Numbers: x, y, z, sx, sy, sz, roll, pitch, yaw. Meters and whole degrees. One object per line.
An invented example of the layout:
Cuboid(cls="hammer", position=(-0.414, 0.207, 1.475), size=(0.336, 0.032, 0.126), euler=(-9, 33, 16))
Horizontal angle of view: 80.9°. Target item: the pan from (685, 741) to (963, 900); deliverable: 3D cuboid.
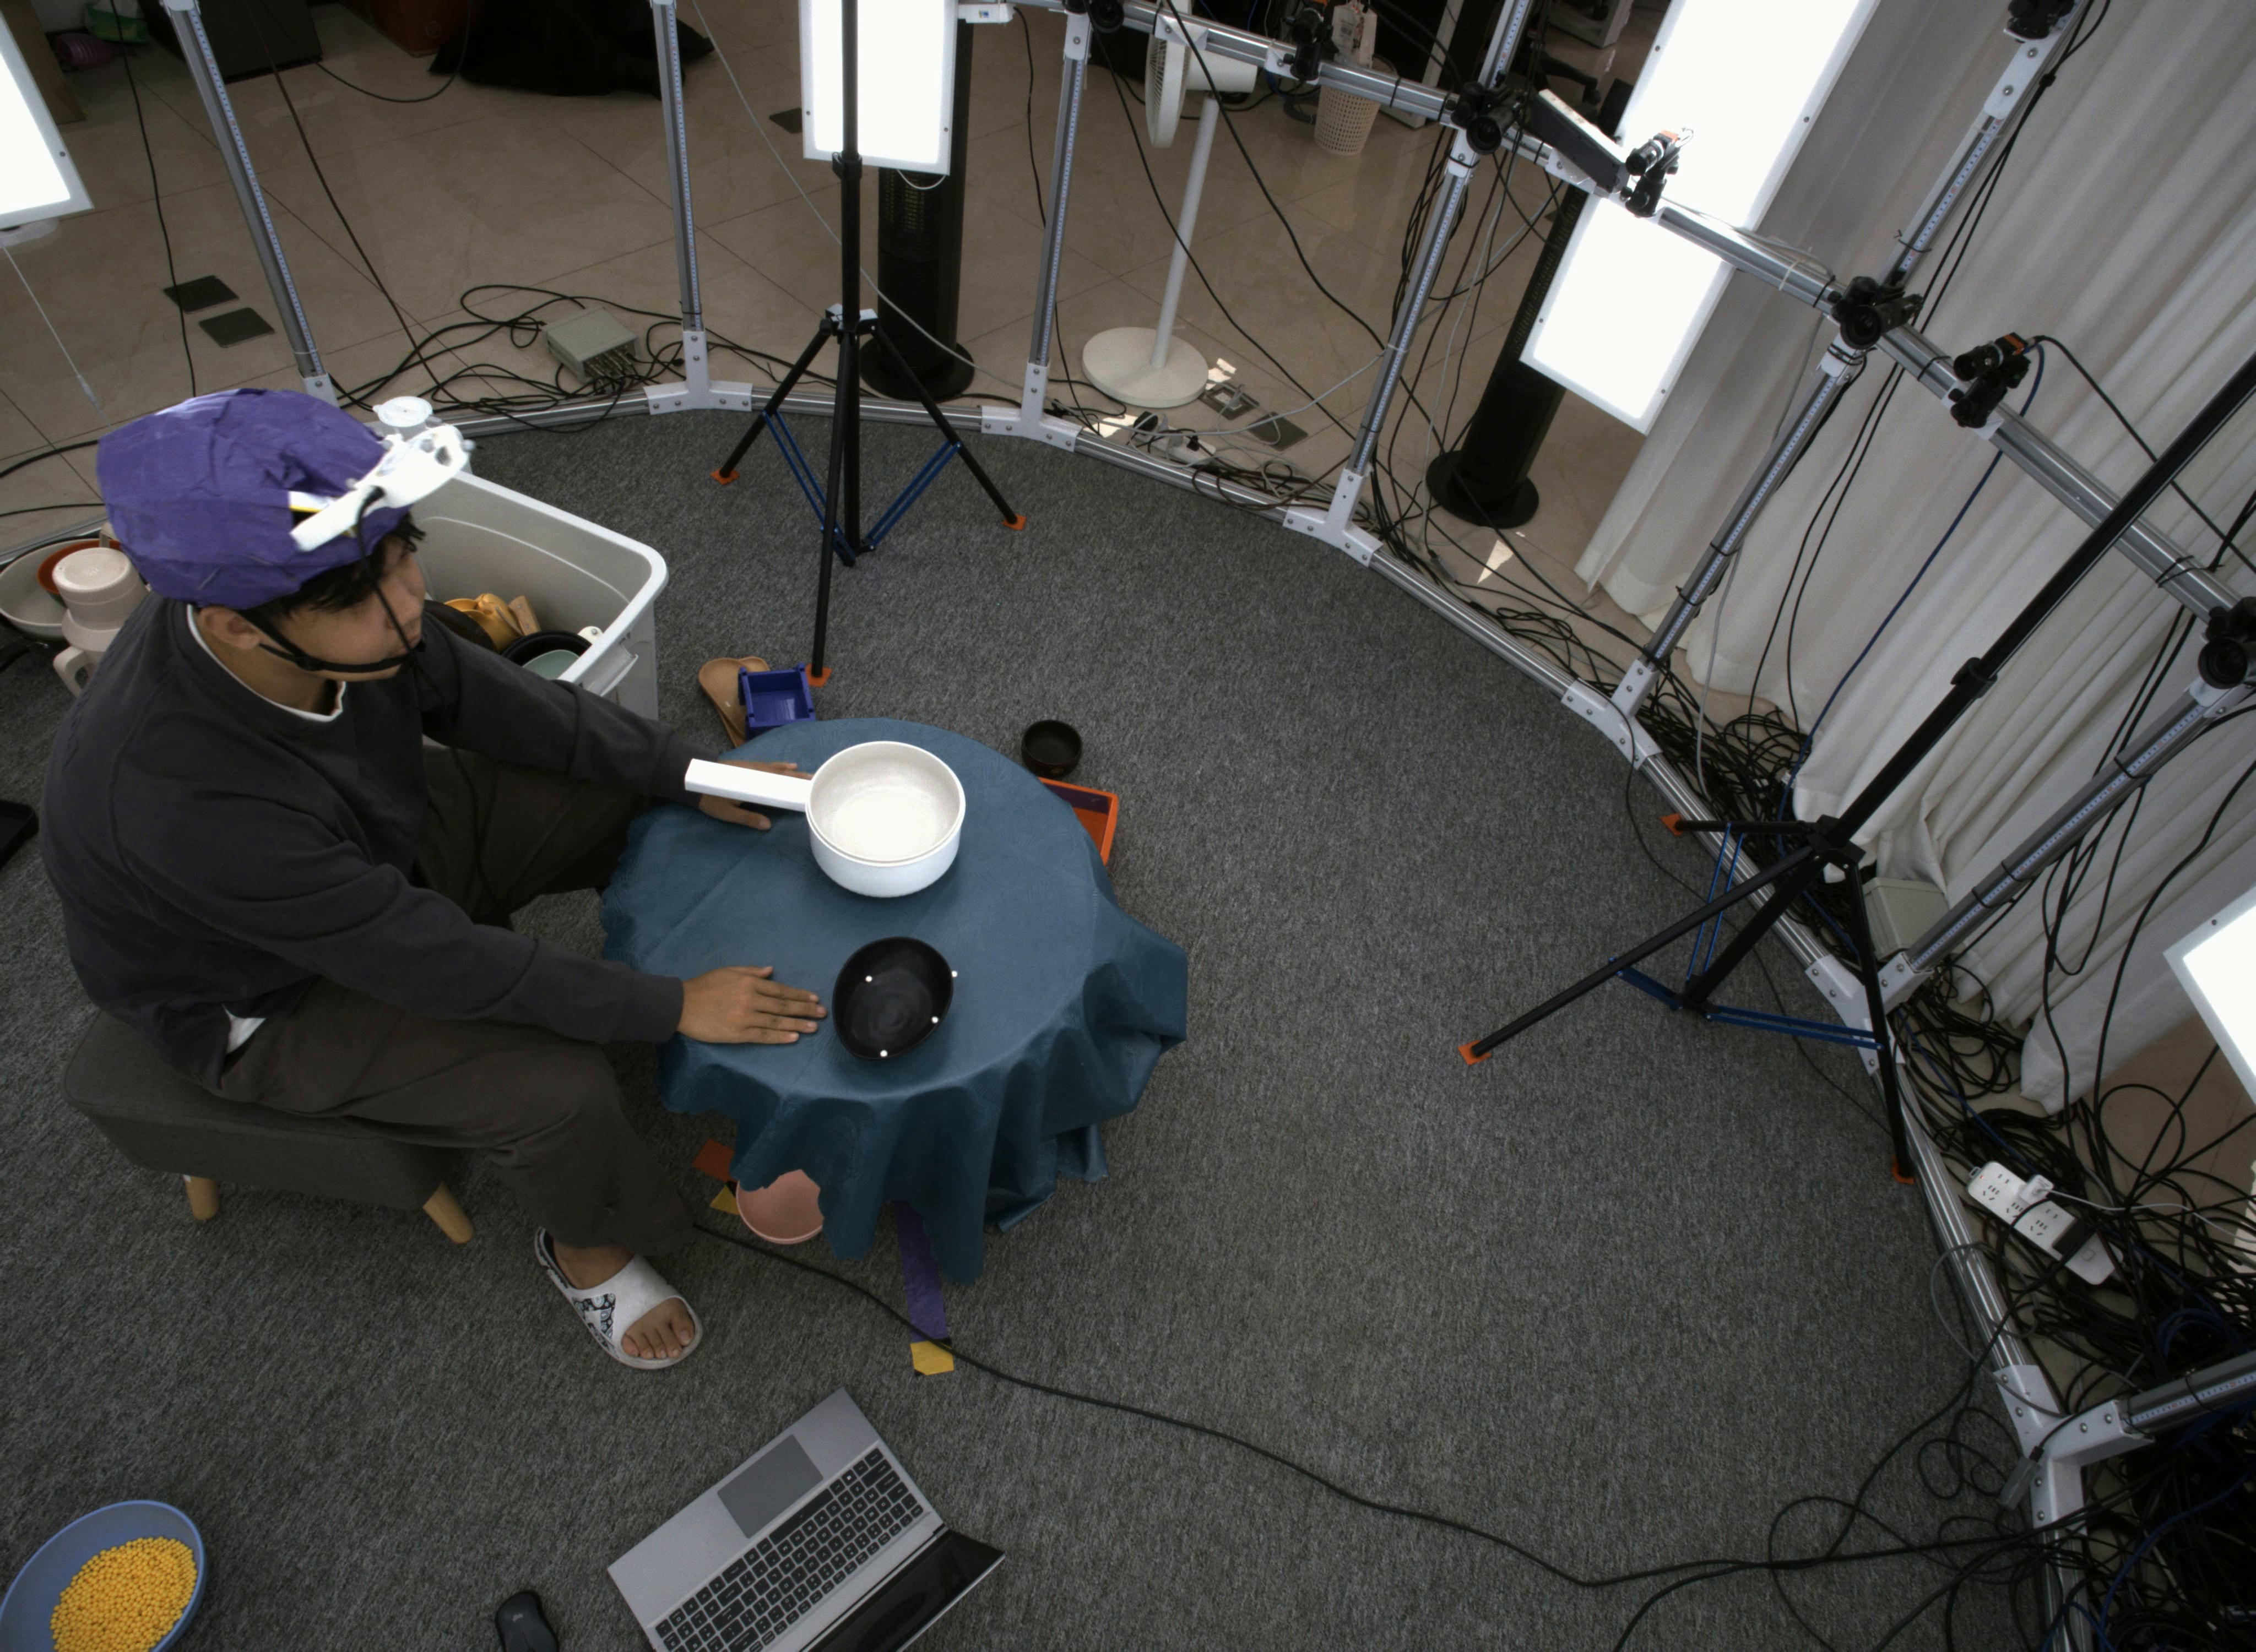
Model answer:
Cuboid(cls="pan", position=(-0.390, -0.014, 1.683), size=(0.352, 0.104, 0.198), euler=(9, 54, -5))

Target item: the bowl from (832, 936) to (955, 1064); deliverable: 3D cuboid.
Cuboid(cls="bowl", position=(-0.280, 0.214, 1.554), size=(0.136, 0.068, 0.168), euler=(20, 53, 2))
